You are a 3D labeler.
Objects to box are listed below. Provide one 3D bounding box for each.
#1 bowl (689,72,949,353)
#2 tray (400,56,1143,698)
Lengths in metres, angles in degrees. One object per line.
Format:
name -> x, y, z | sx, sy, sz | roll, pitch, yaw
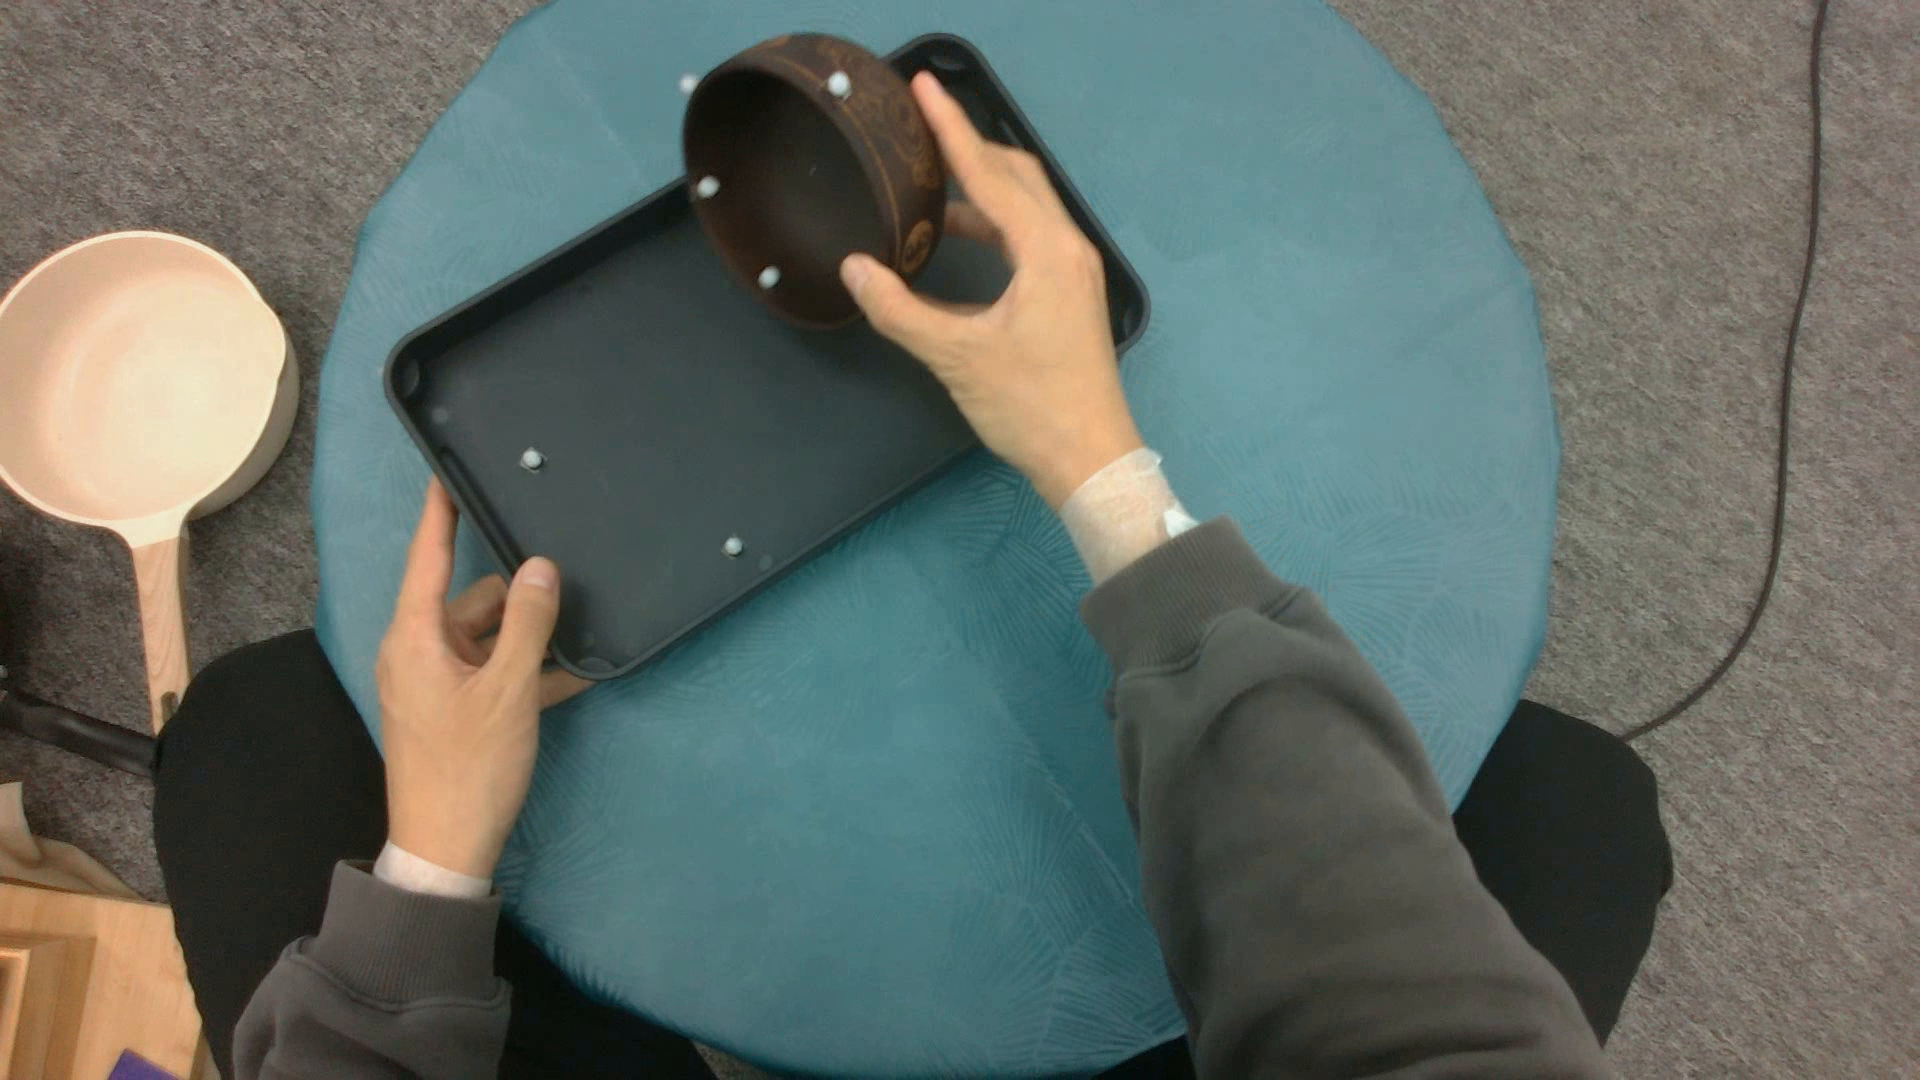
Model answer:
bowl -> -0.054, -0.149, 0.607 | 0.118, 0.117, 0.070 | 41, 52, 6
tray -> -0.085, -0.082, 0.661 | 0.318, 0.037, 0.184 | -35, 84, -9
